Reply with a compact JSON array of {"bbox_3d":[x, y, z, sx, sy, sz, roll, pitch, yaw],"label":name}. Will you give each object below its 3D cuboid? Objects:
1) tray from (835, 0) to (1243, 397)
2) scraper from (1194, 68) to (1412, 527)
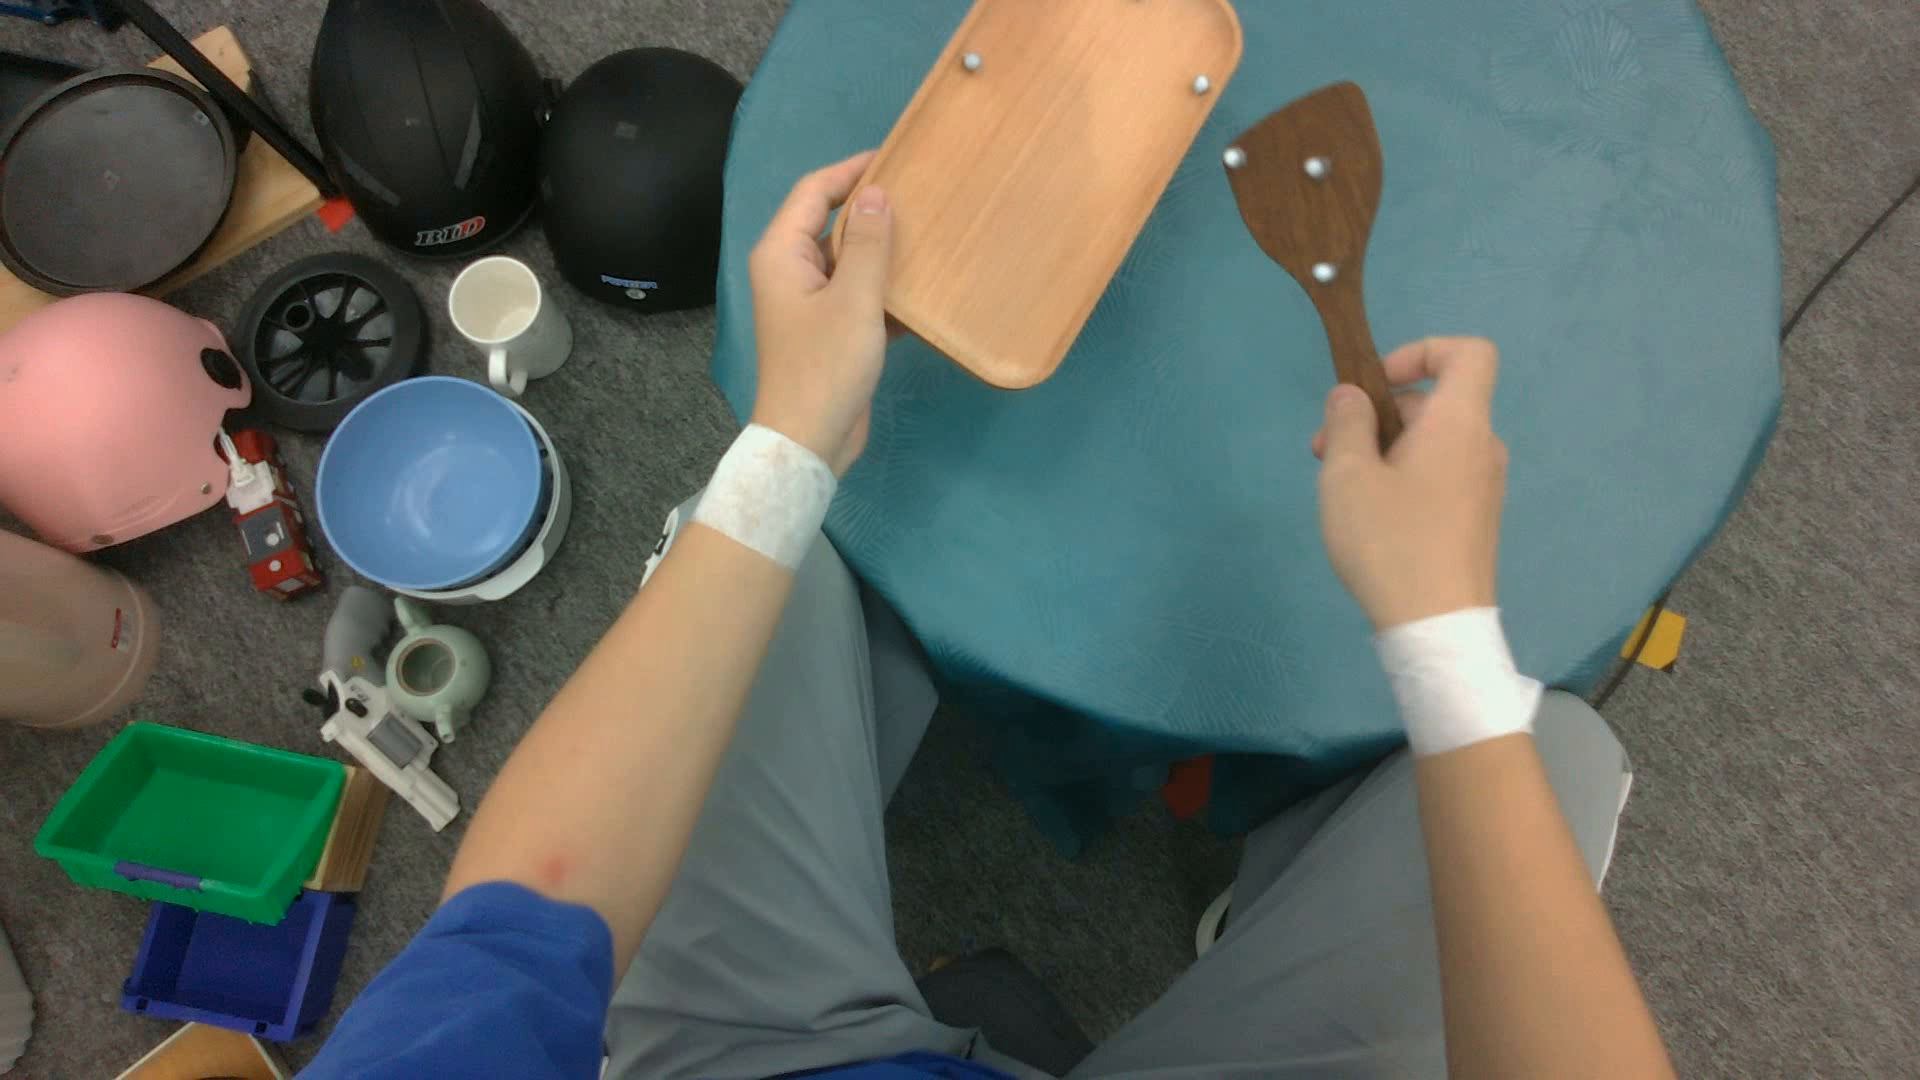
[{"bbox_3d":[0.044,-0.196,0.695,0.130,0.023,0.251,33,75,-7],"label":"tray"},{"bbox_3d":[0.165,-0.108,0.633,0.011,0.075,0.211,-12,82,-37],"label":"scraper"}]
